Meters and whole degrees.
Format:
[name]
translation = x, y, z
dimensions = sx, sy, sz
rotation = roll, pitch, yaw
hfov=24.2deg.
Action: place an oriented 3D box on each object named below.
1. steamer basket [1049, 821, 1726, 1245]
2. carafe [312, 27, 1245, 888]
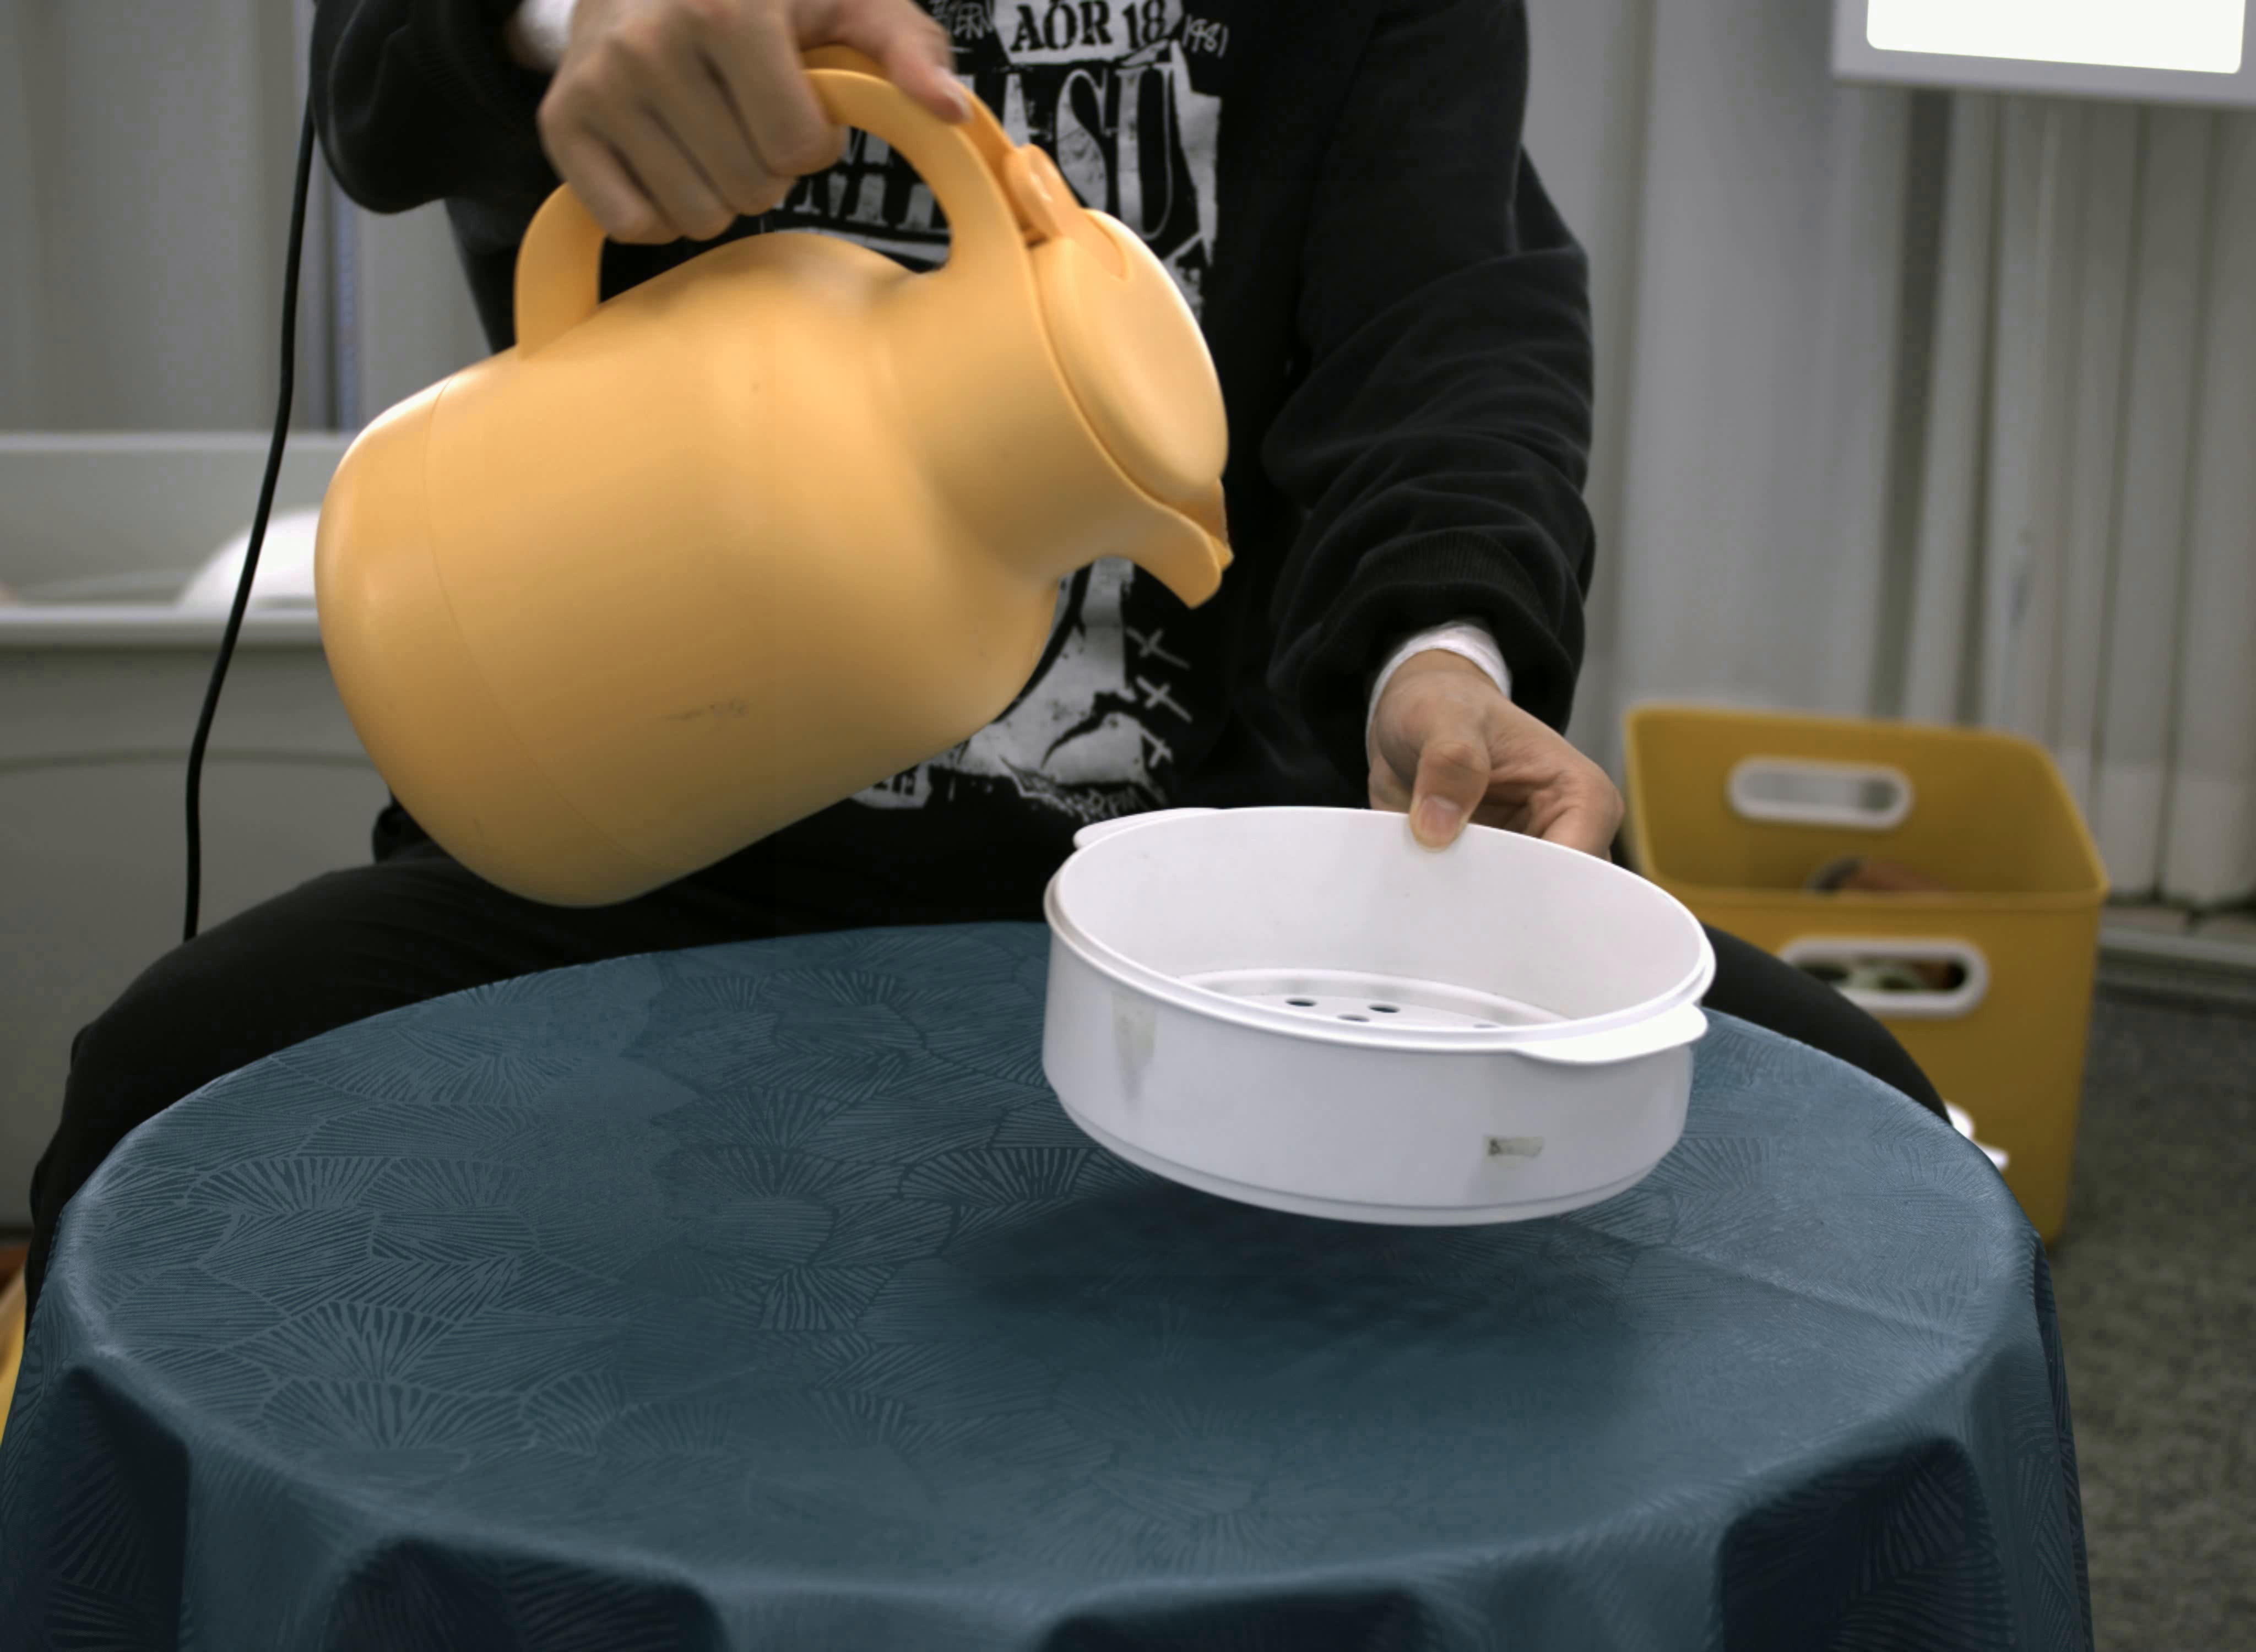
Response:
[steamer basket]
translation = 0.075, 0.061, 1.566
dimensions = 0.203, 0.070, 0.227
rotation = -12, 25, -40
[carafe]
translation = -0.104, -0.110, 1.516
dimensions = 0.259, 0.204, 0.163
rotation = -21, 16, 19
